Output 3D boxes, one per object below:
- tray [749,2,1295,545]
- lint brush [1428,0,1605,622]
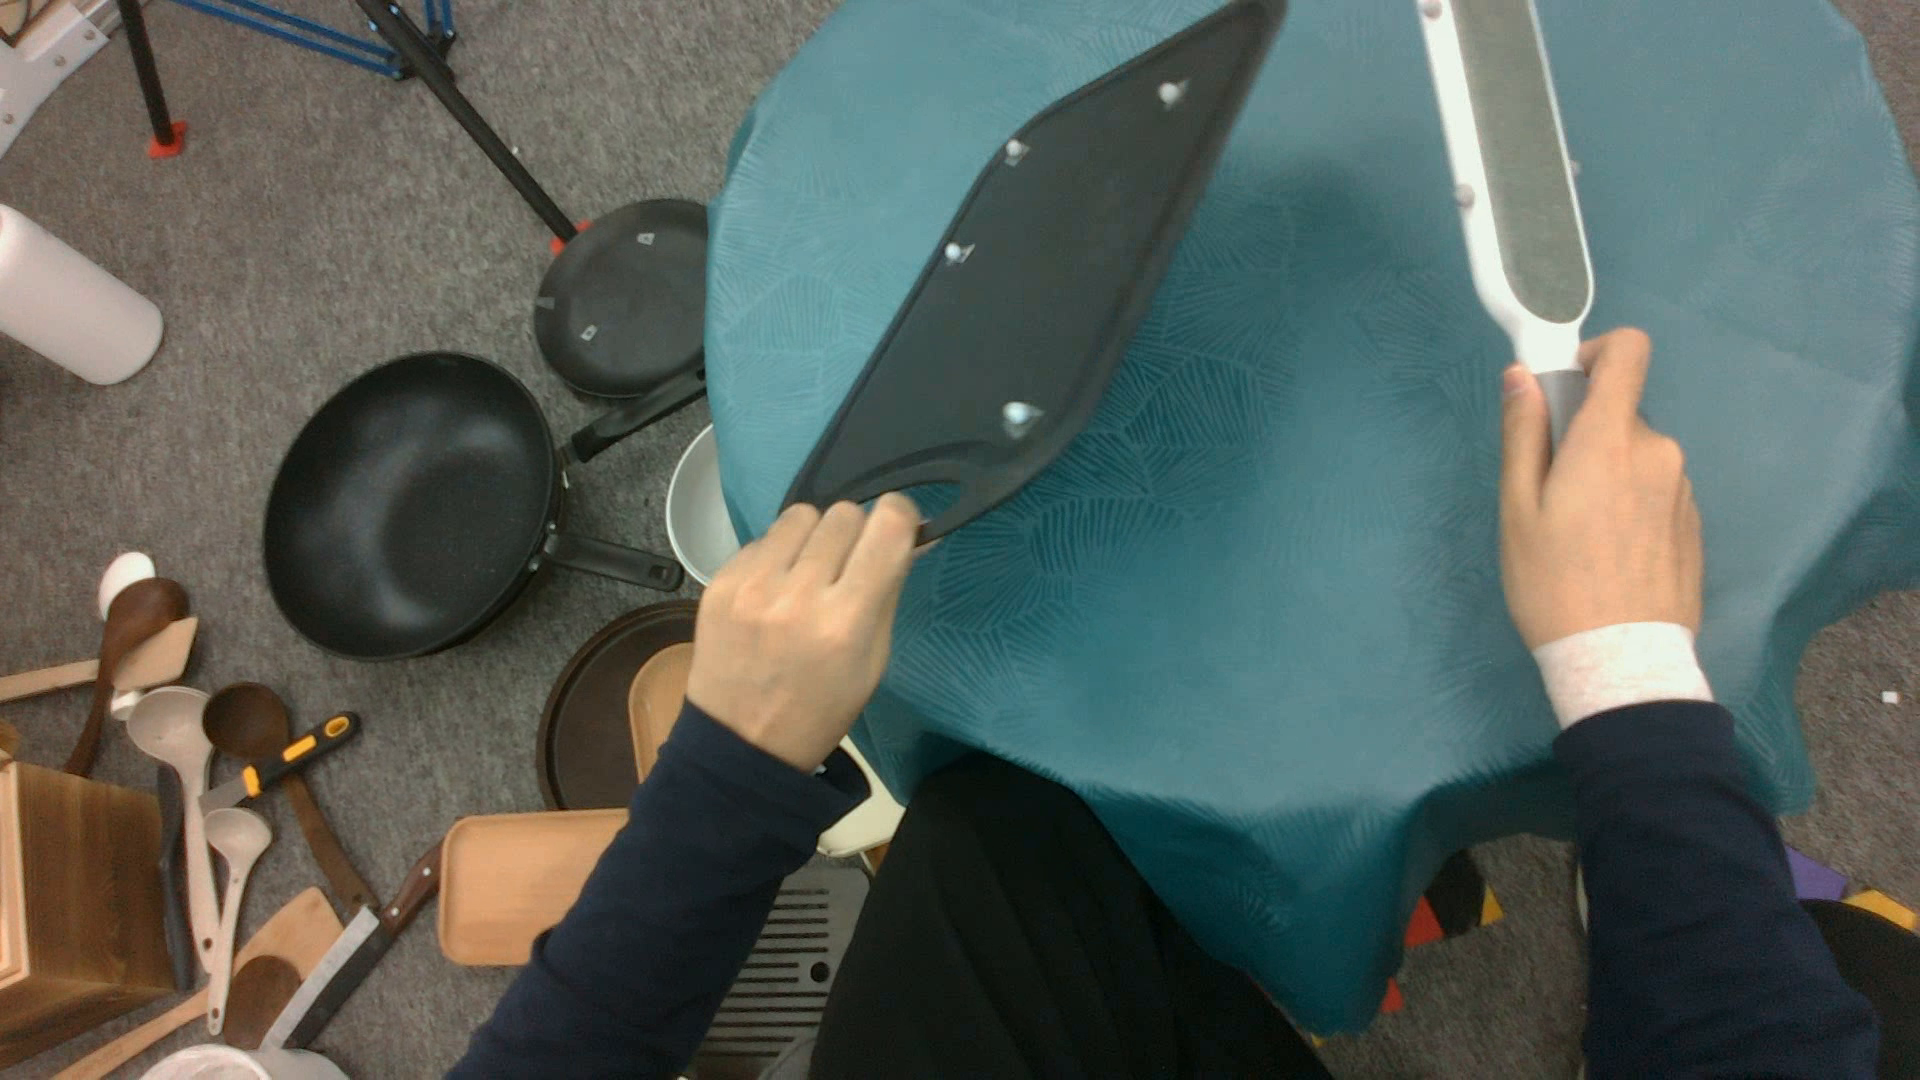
[{"bbox_3d":[0.024,-0.127,0.623,0.210,0.010,0.327,-3,49,43],"label":"tray"},{"bbox_3d":[0.241,-0.118,0.592,0.060,0.021,0.309,4,75,-27],"label":"lint brush"}]
